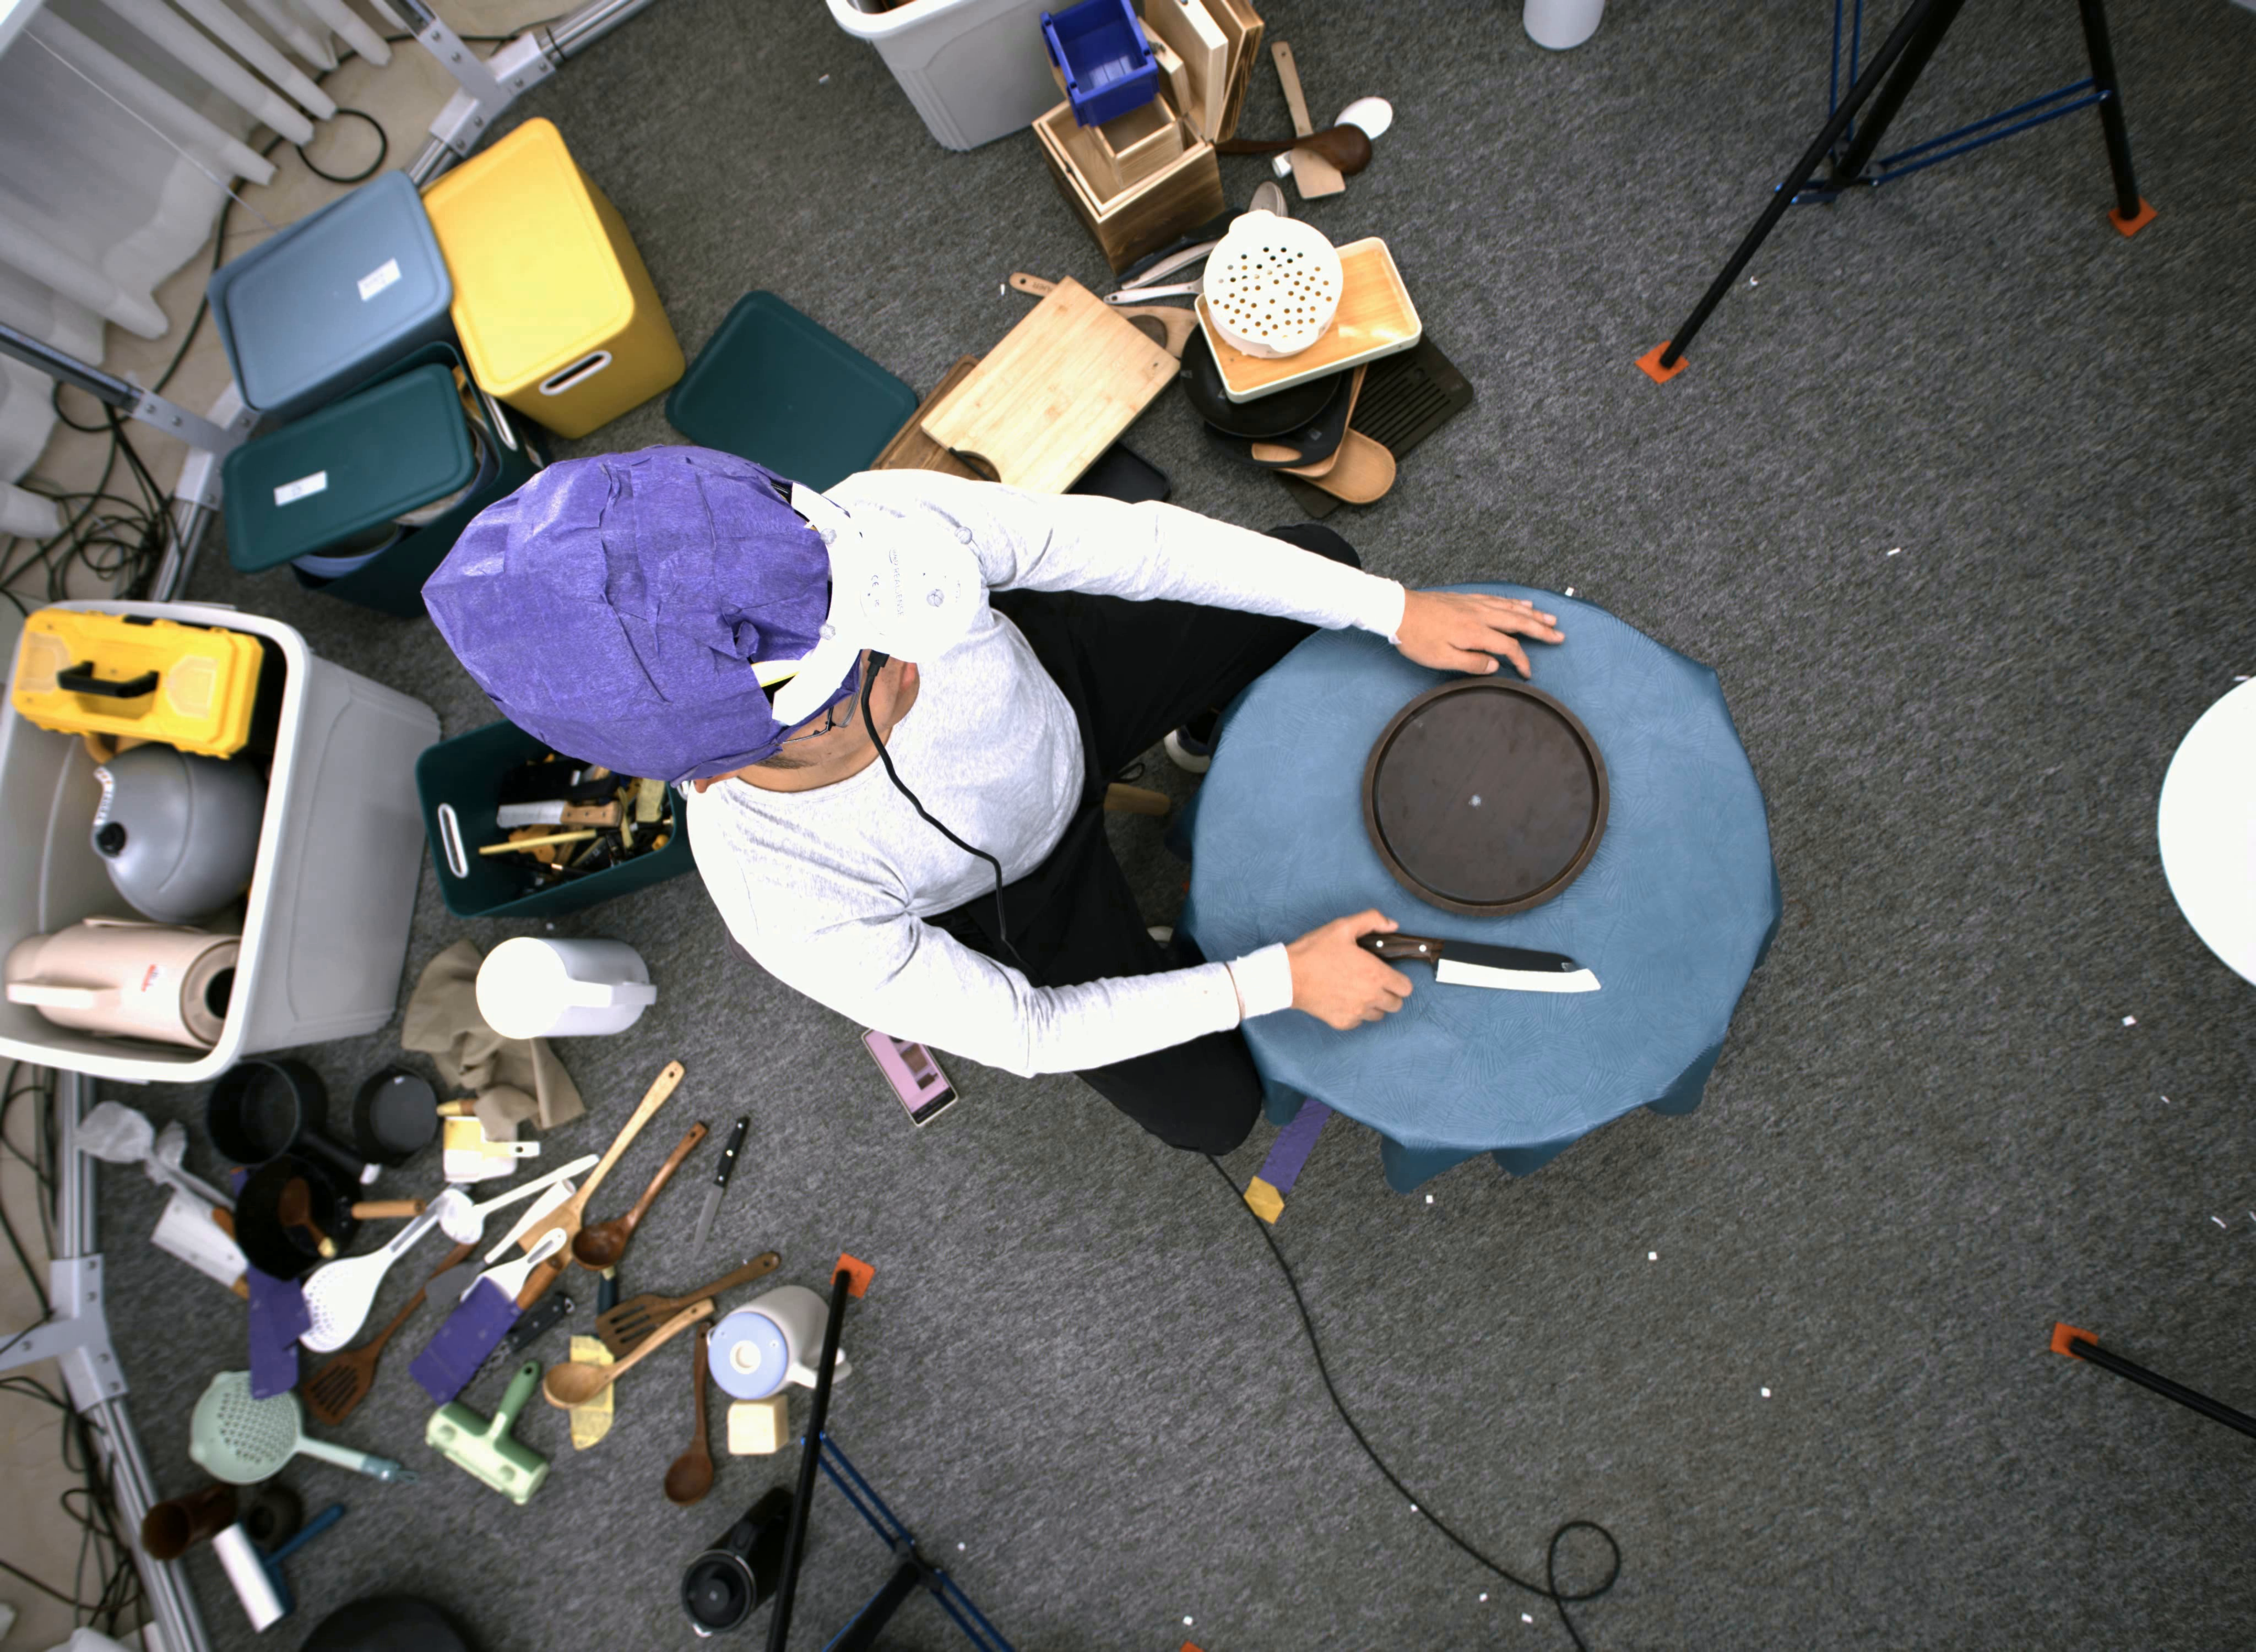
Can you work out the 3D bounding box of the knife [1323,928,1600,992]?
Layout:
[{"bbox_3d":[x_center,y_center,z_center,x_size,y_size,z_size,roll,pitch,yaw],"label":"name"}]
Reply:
[{"bbox_3d":[0.346,0.138,1.435,0.290,0.020,0.050,8,93,9],"label":"knife"}]

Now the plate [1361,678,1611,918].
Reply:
[{"bbox_3d":[0.372,-0.032,1.434,0.256,0.029,0.254,-1,88,12],"label":"plate"}]
